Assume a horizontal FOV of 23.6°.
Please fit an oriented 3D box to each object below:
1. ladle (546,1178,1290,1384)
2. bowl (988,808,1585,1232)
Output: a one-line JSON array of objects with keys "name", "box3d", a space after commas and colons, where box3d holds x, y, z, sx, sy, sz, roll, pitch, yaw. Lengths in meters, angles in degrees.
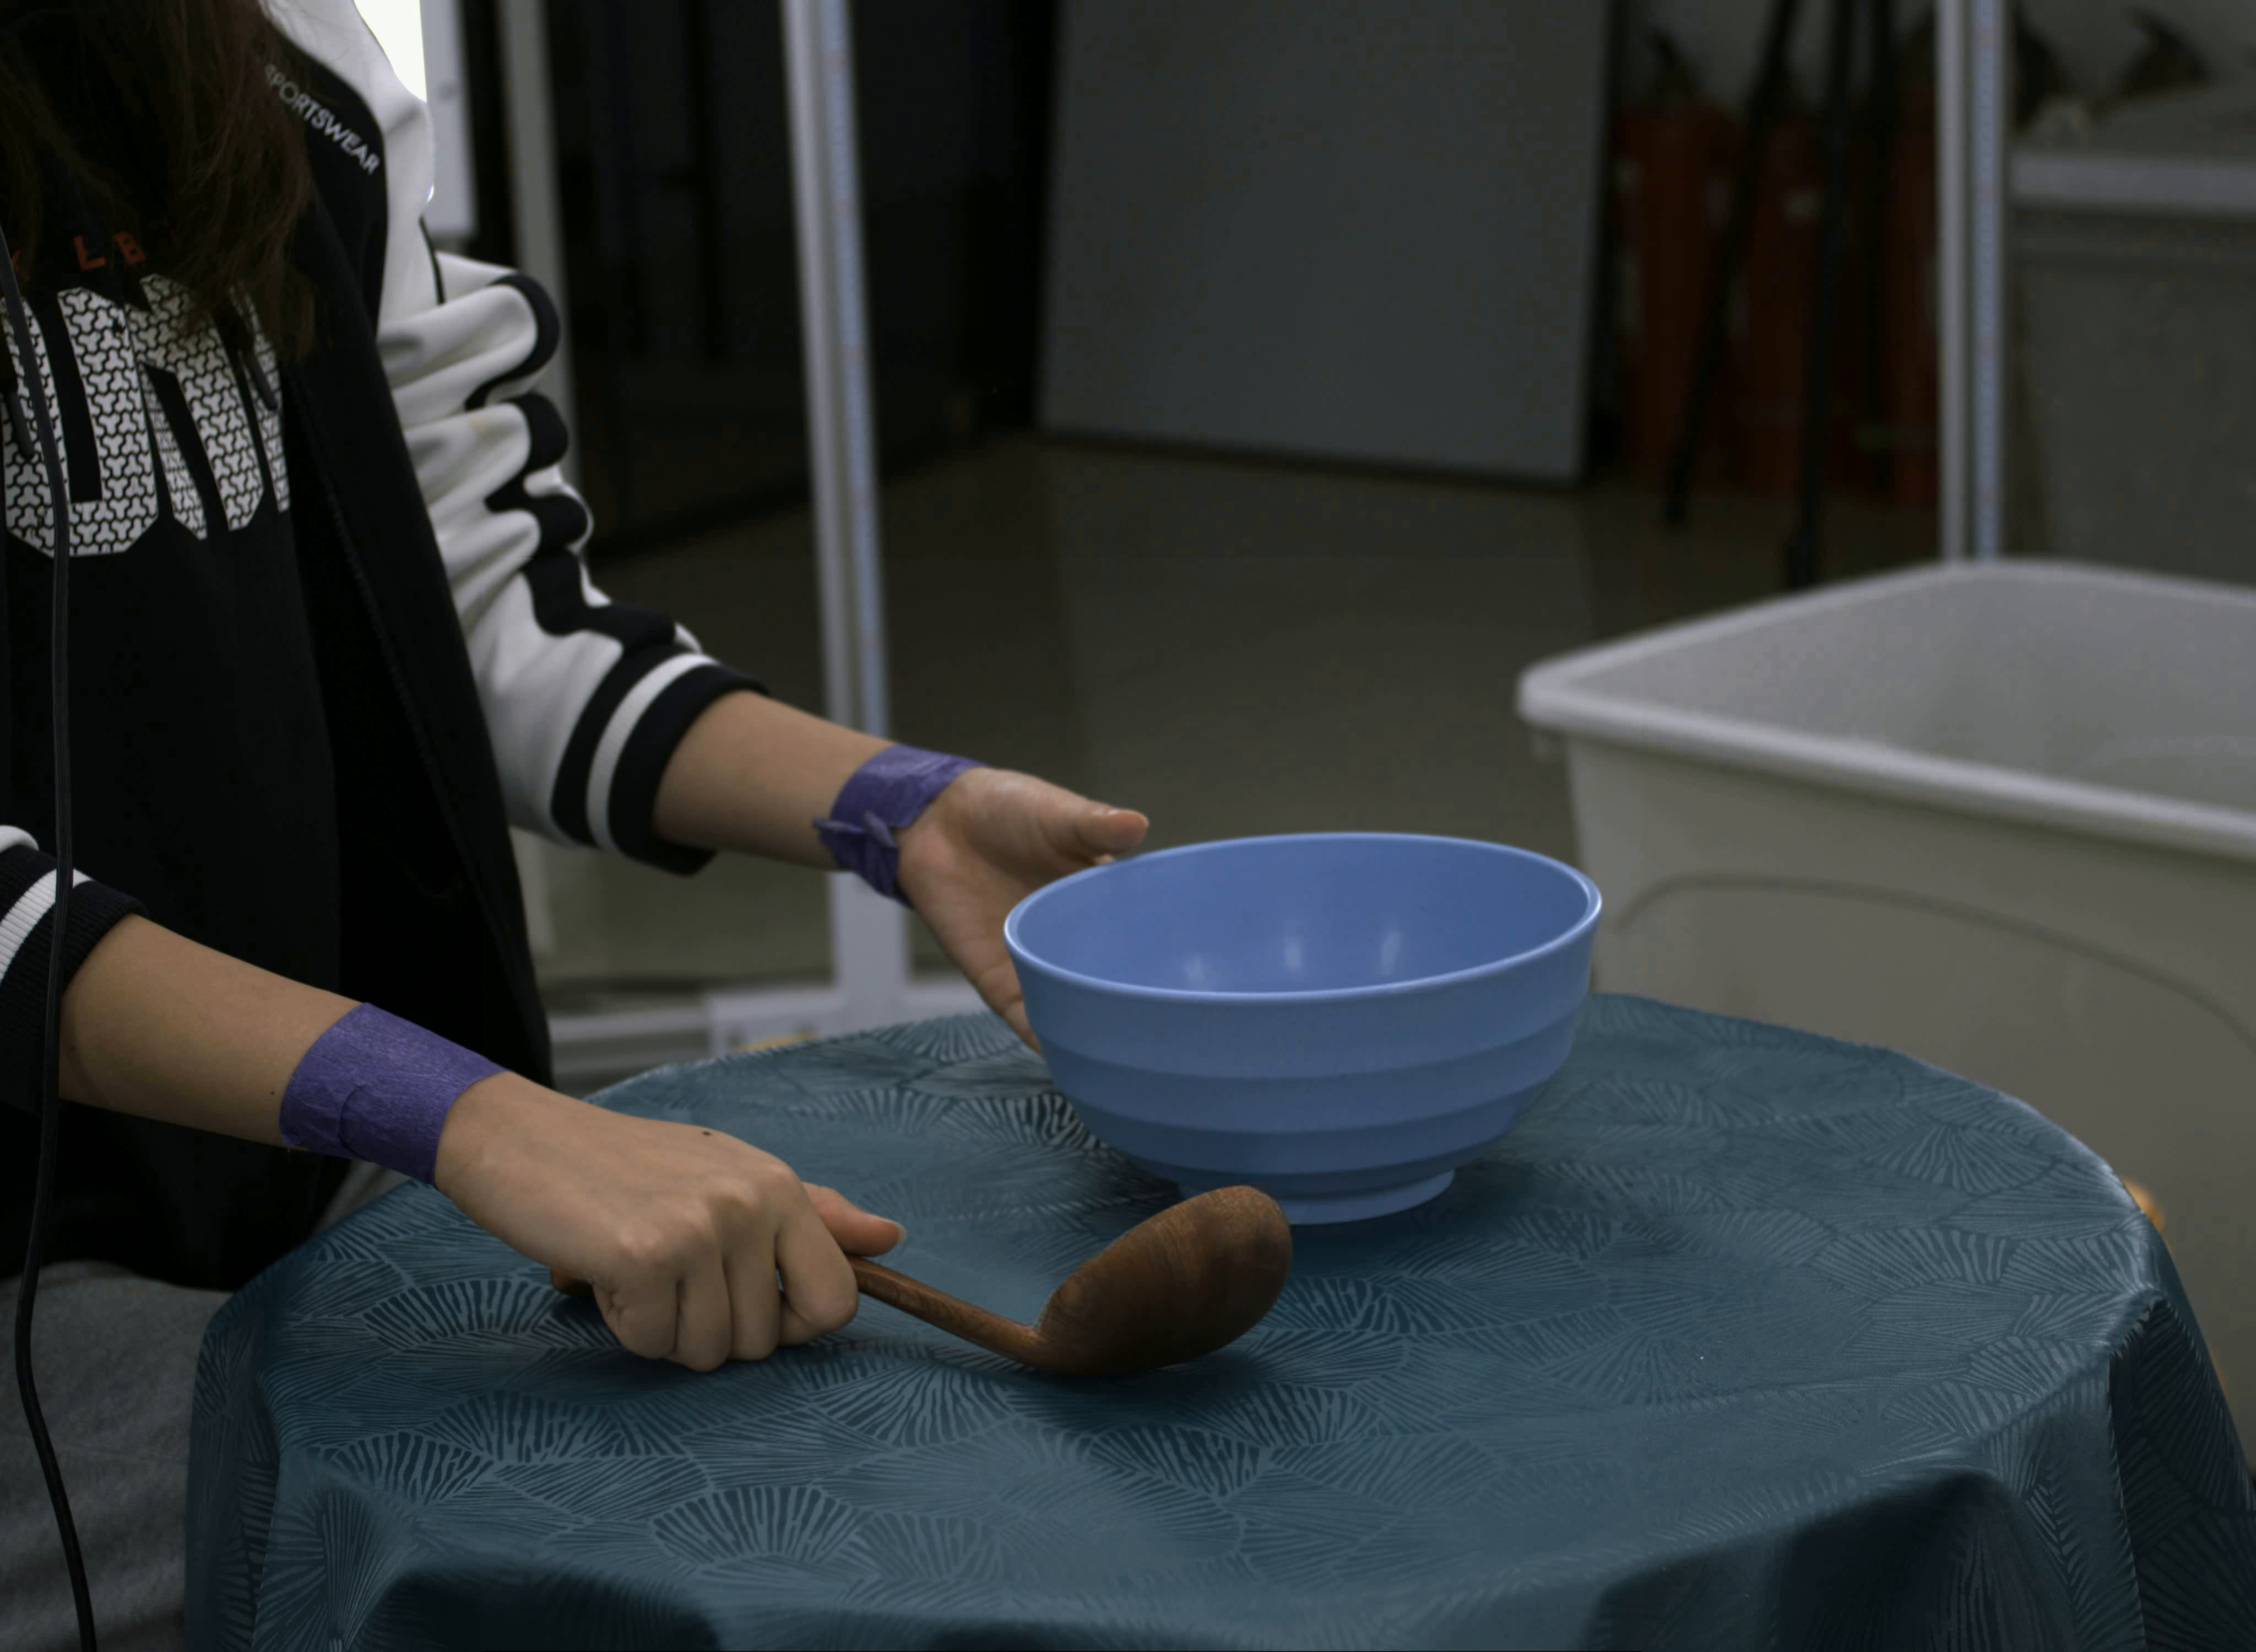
[{"name": "ladle", "box3d": [-0.068, 0.127, 1.636, 0.261, 0.066, 0.075, 5, -11, 34]}, {"name": "bowl", "box3d": [0.054, 0.071, 1.762, 0.194, 0.096, 0.197, -4, 20, 1]}]
